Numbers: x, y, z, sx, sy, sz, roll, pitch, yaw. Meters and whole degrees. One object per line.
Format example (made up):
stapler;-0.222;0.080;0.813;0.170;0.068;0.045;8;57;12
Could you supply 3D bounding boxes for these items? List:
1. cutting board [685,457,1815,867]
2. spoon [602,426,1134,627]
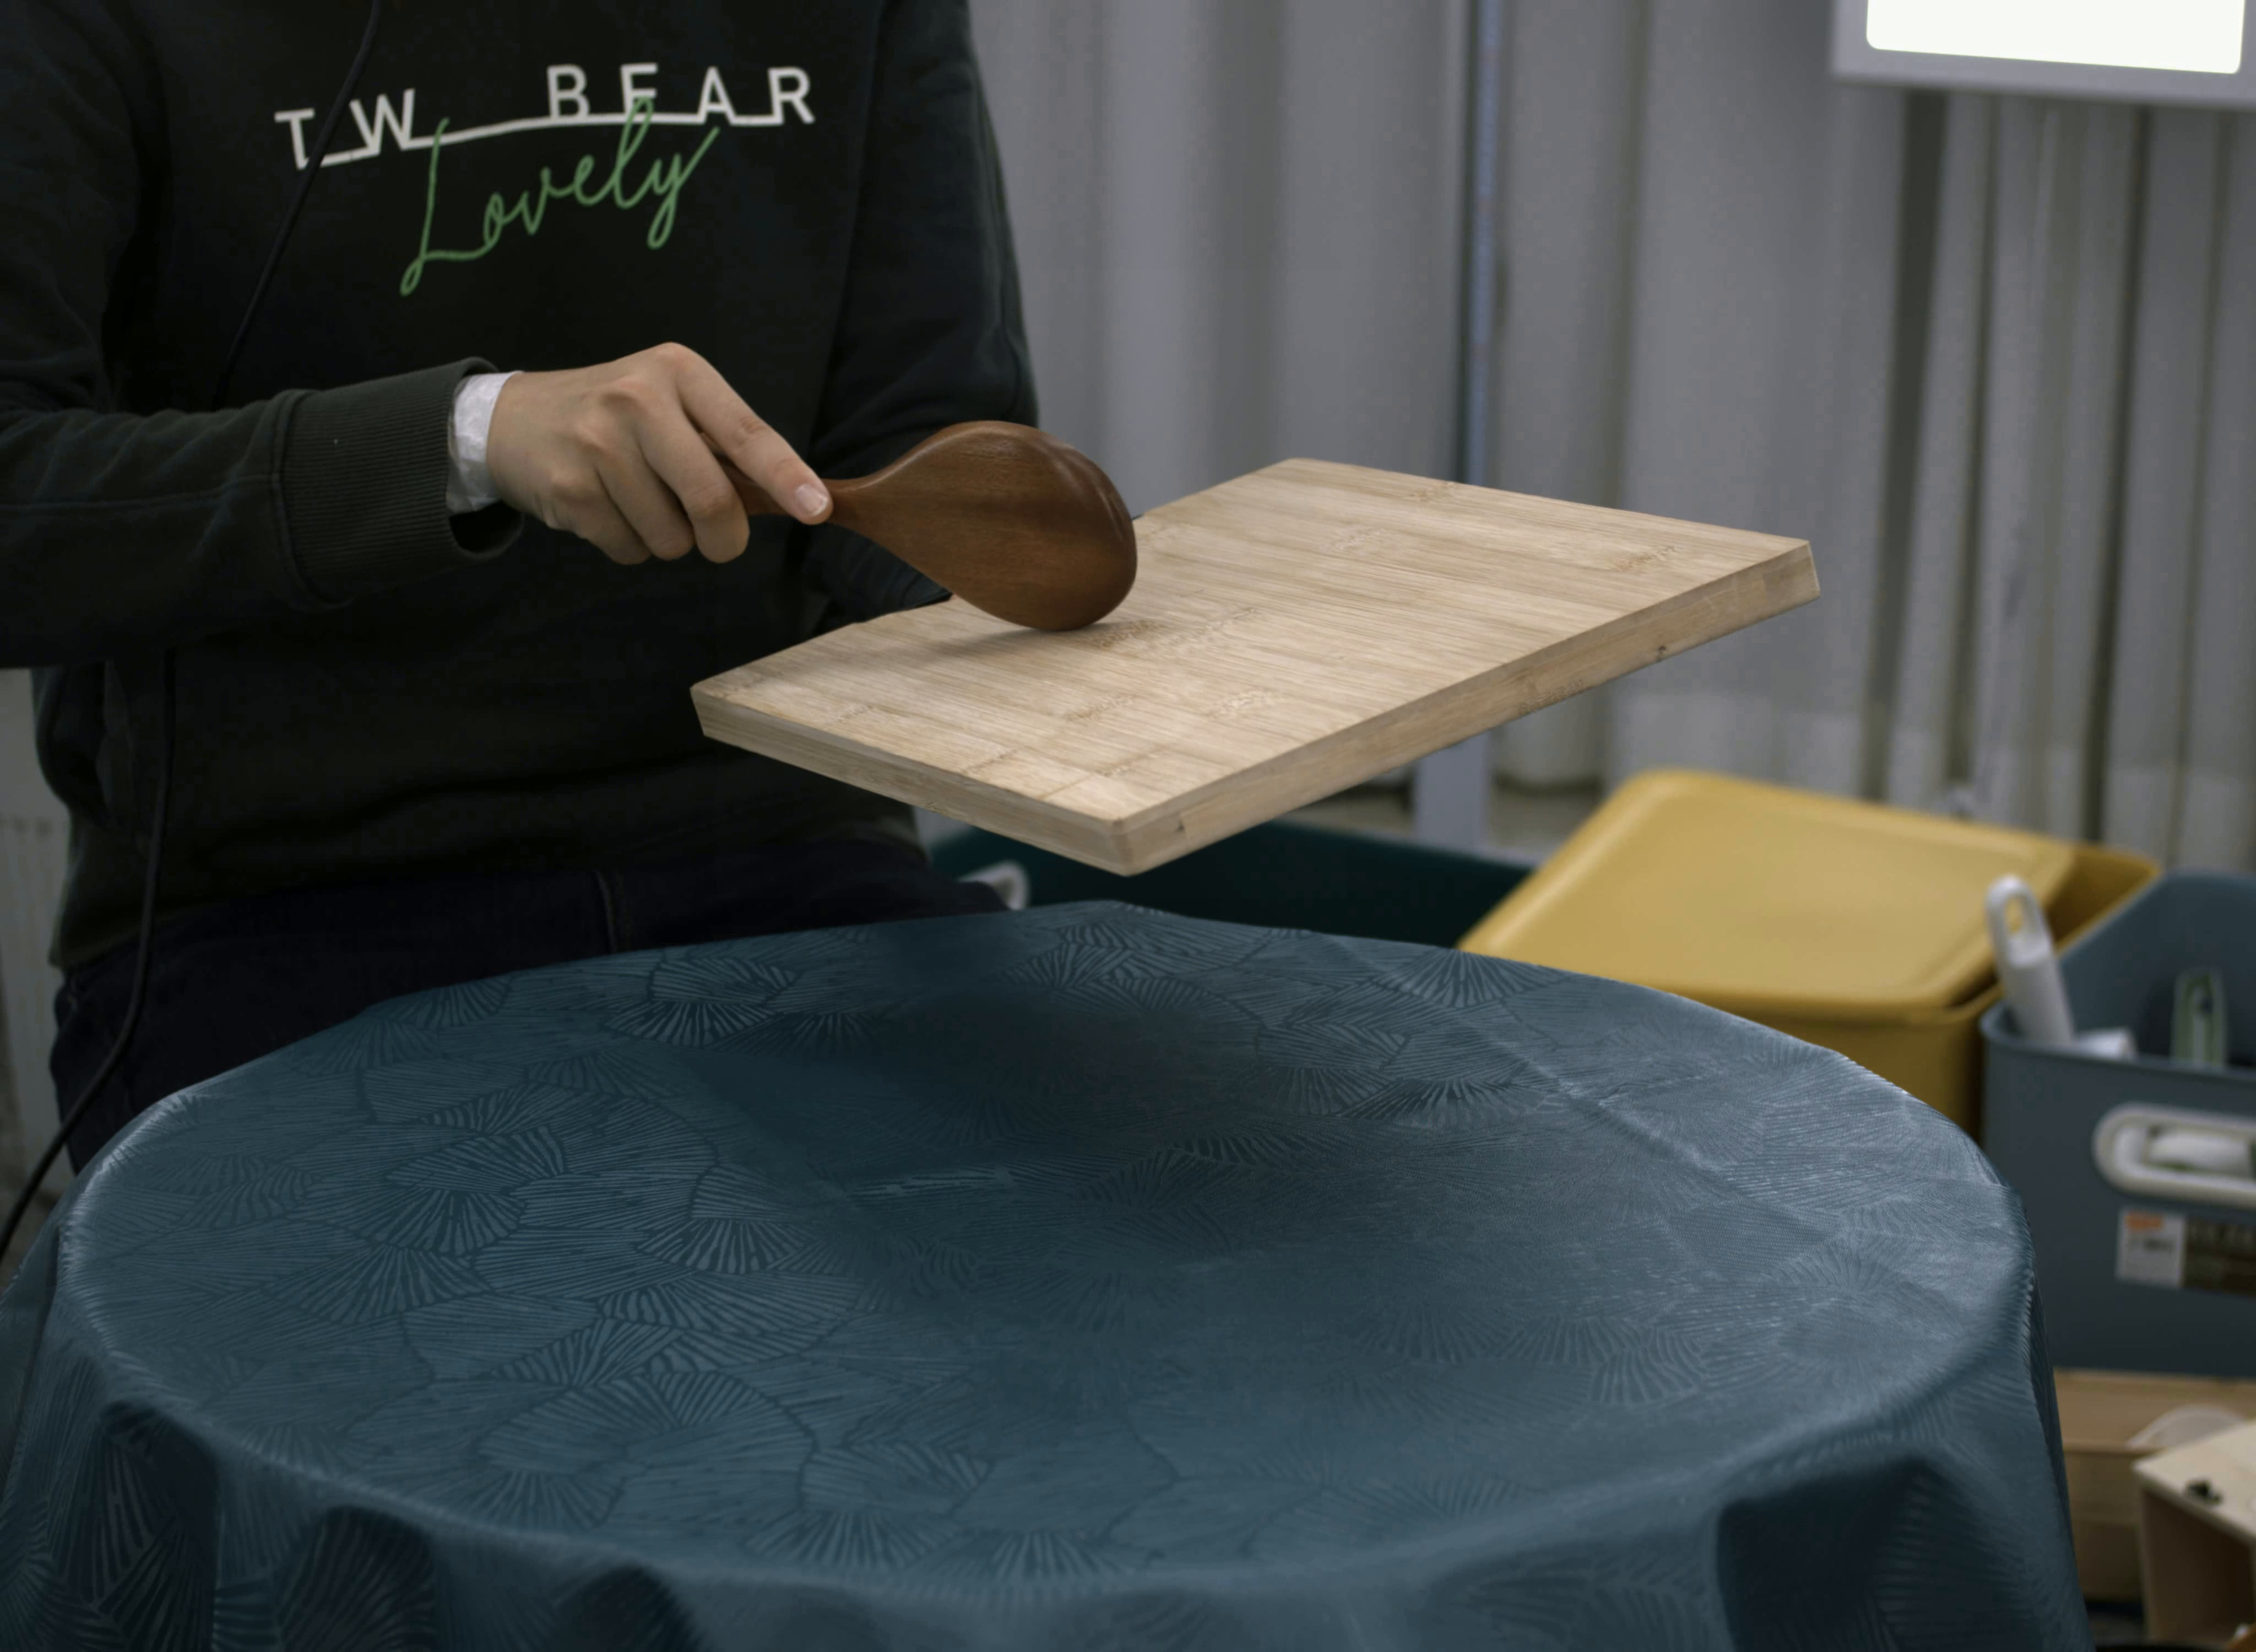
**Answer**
cutting board;0.028;-0.058;1.670;0.251;0.024;0.345;-21;16;-22
spoon;-0.089;-0.104;1.724;0.213;0.076;0.017;12;41;34
